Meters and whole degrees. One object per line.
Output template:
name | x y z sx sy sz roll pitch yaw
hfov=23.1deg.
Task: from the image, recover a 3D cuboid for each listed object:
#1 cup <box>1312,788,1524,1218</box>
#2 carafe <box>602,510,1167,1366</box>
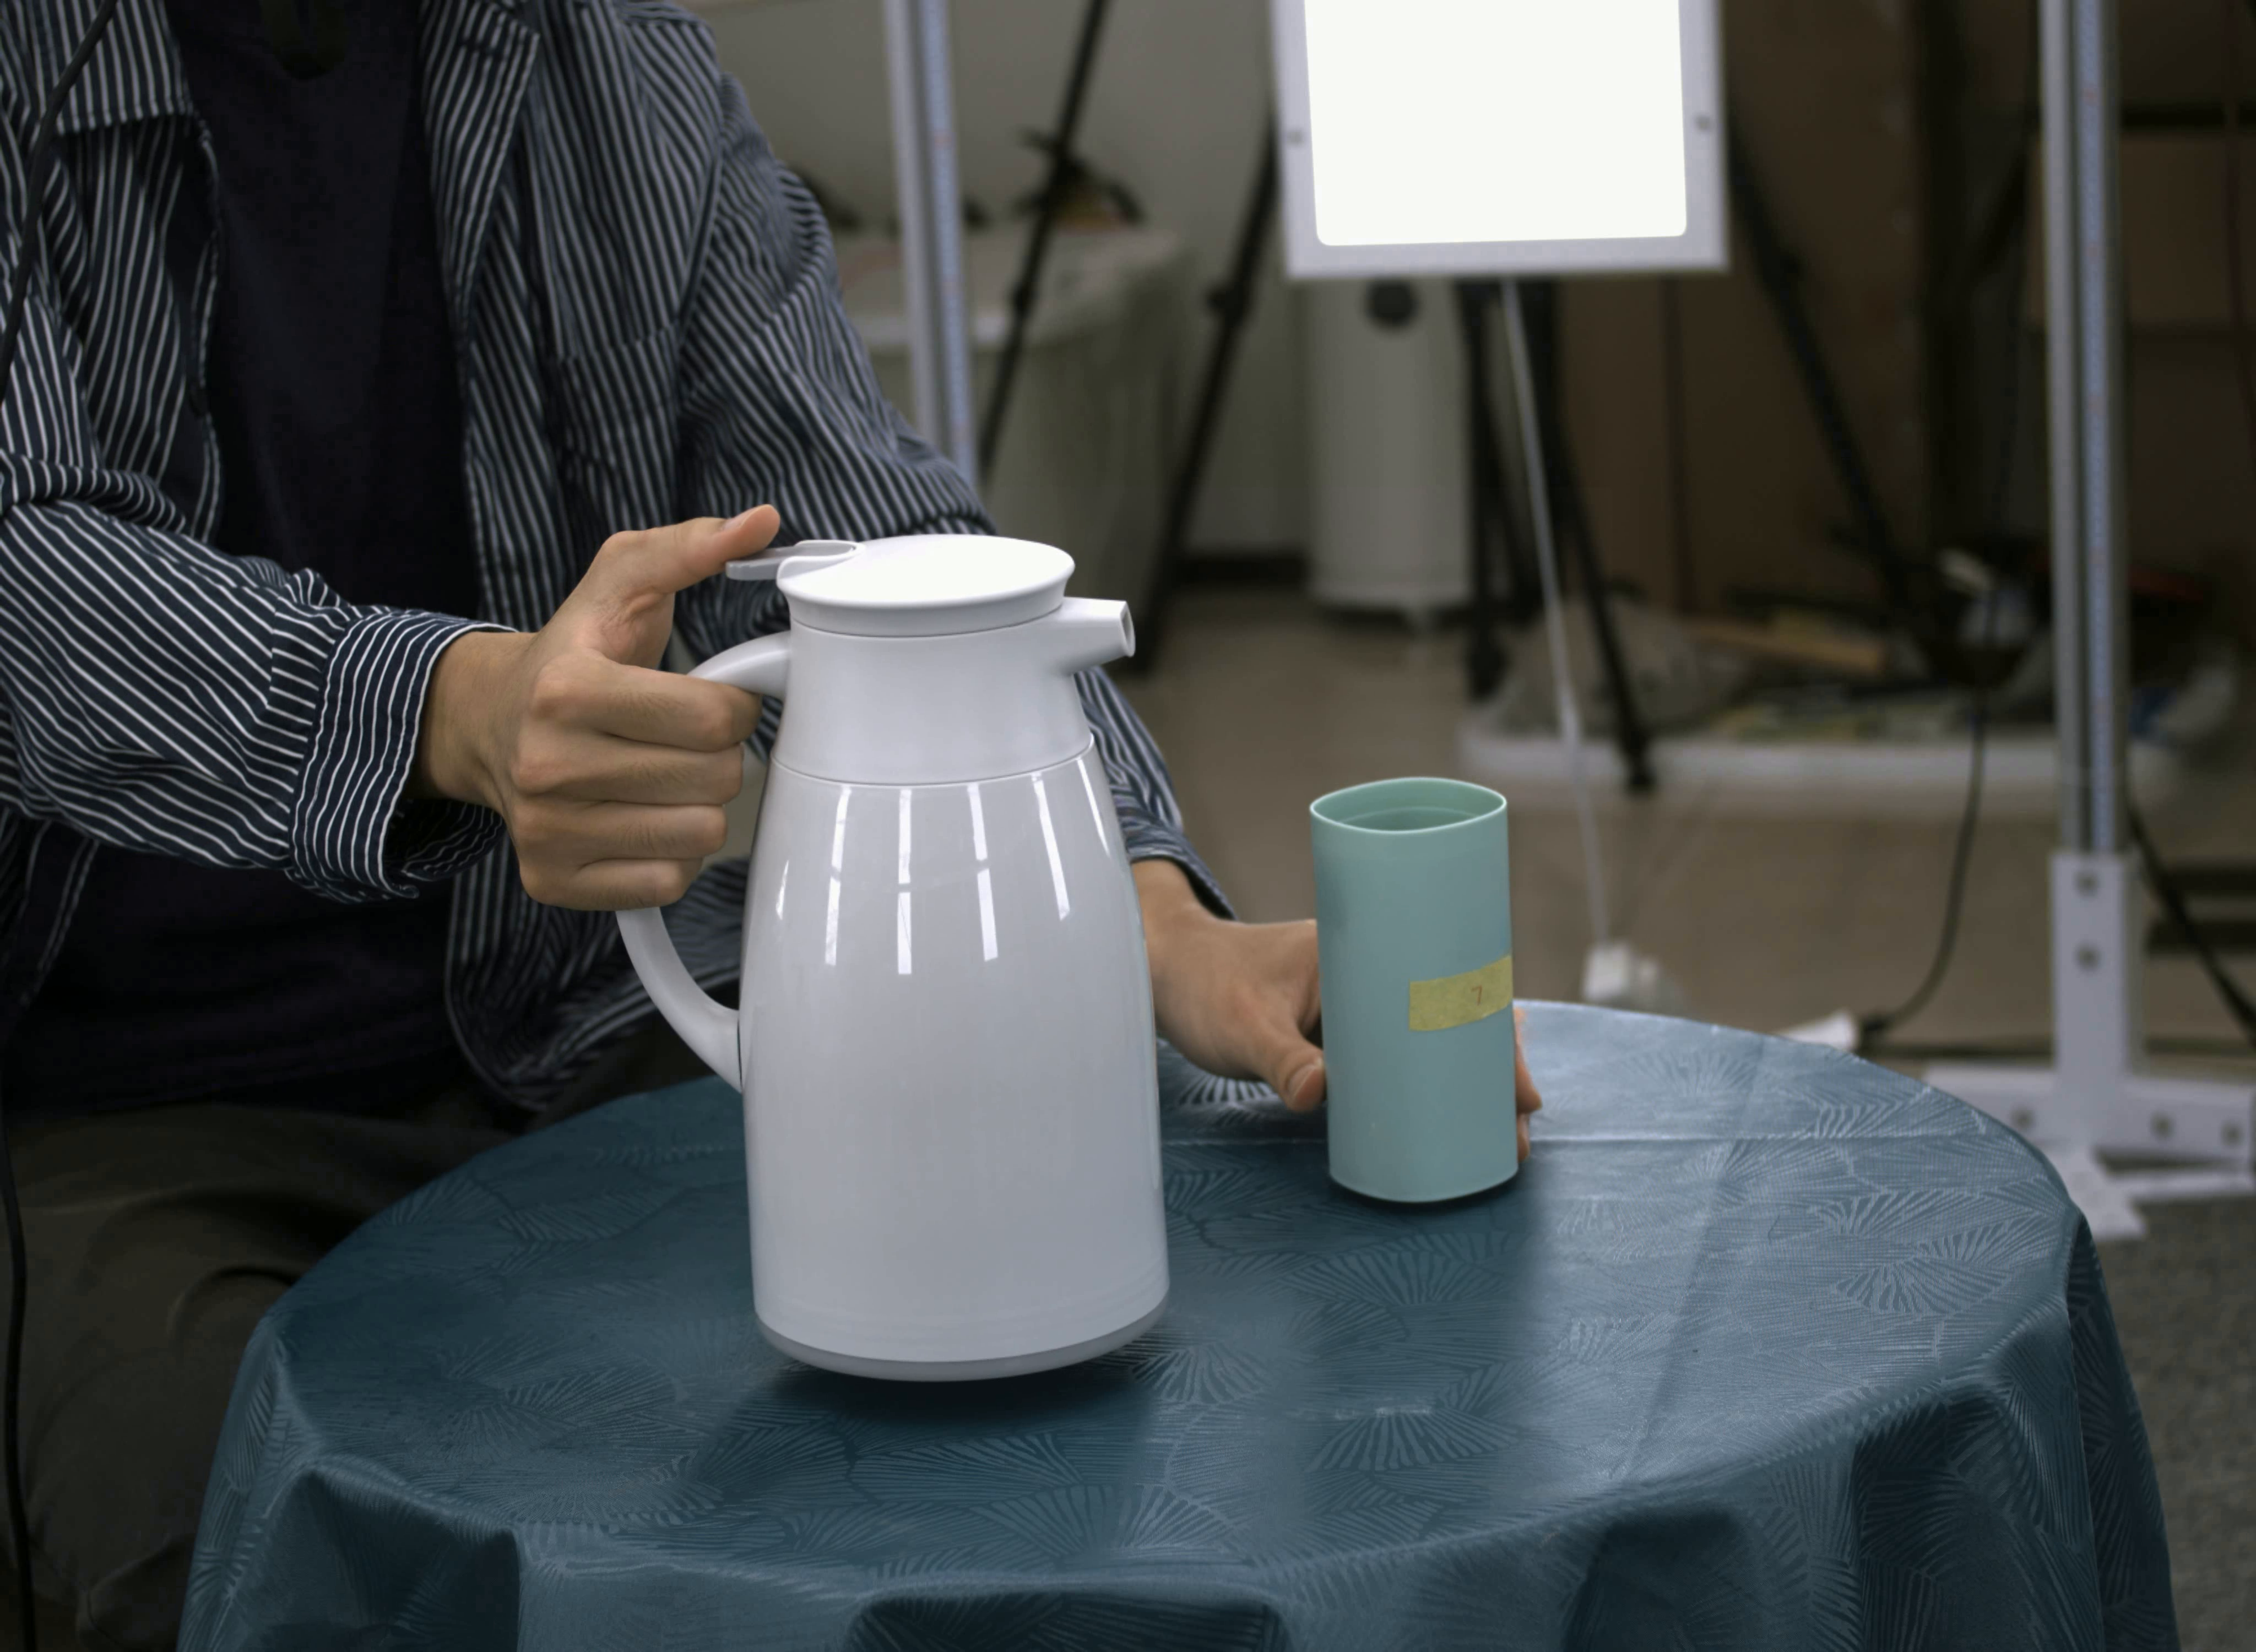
cup | 0.098 0.058 1.851 0.066 0.133 0.066 -4 16 0
carafe | -0.077 0.029 1.703 0.168 0.249 0.131 -2 16 6
